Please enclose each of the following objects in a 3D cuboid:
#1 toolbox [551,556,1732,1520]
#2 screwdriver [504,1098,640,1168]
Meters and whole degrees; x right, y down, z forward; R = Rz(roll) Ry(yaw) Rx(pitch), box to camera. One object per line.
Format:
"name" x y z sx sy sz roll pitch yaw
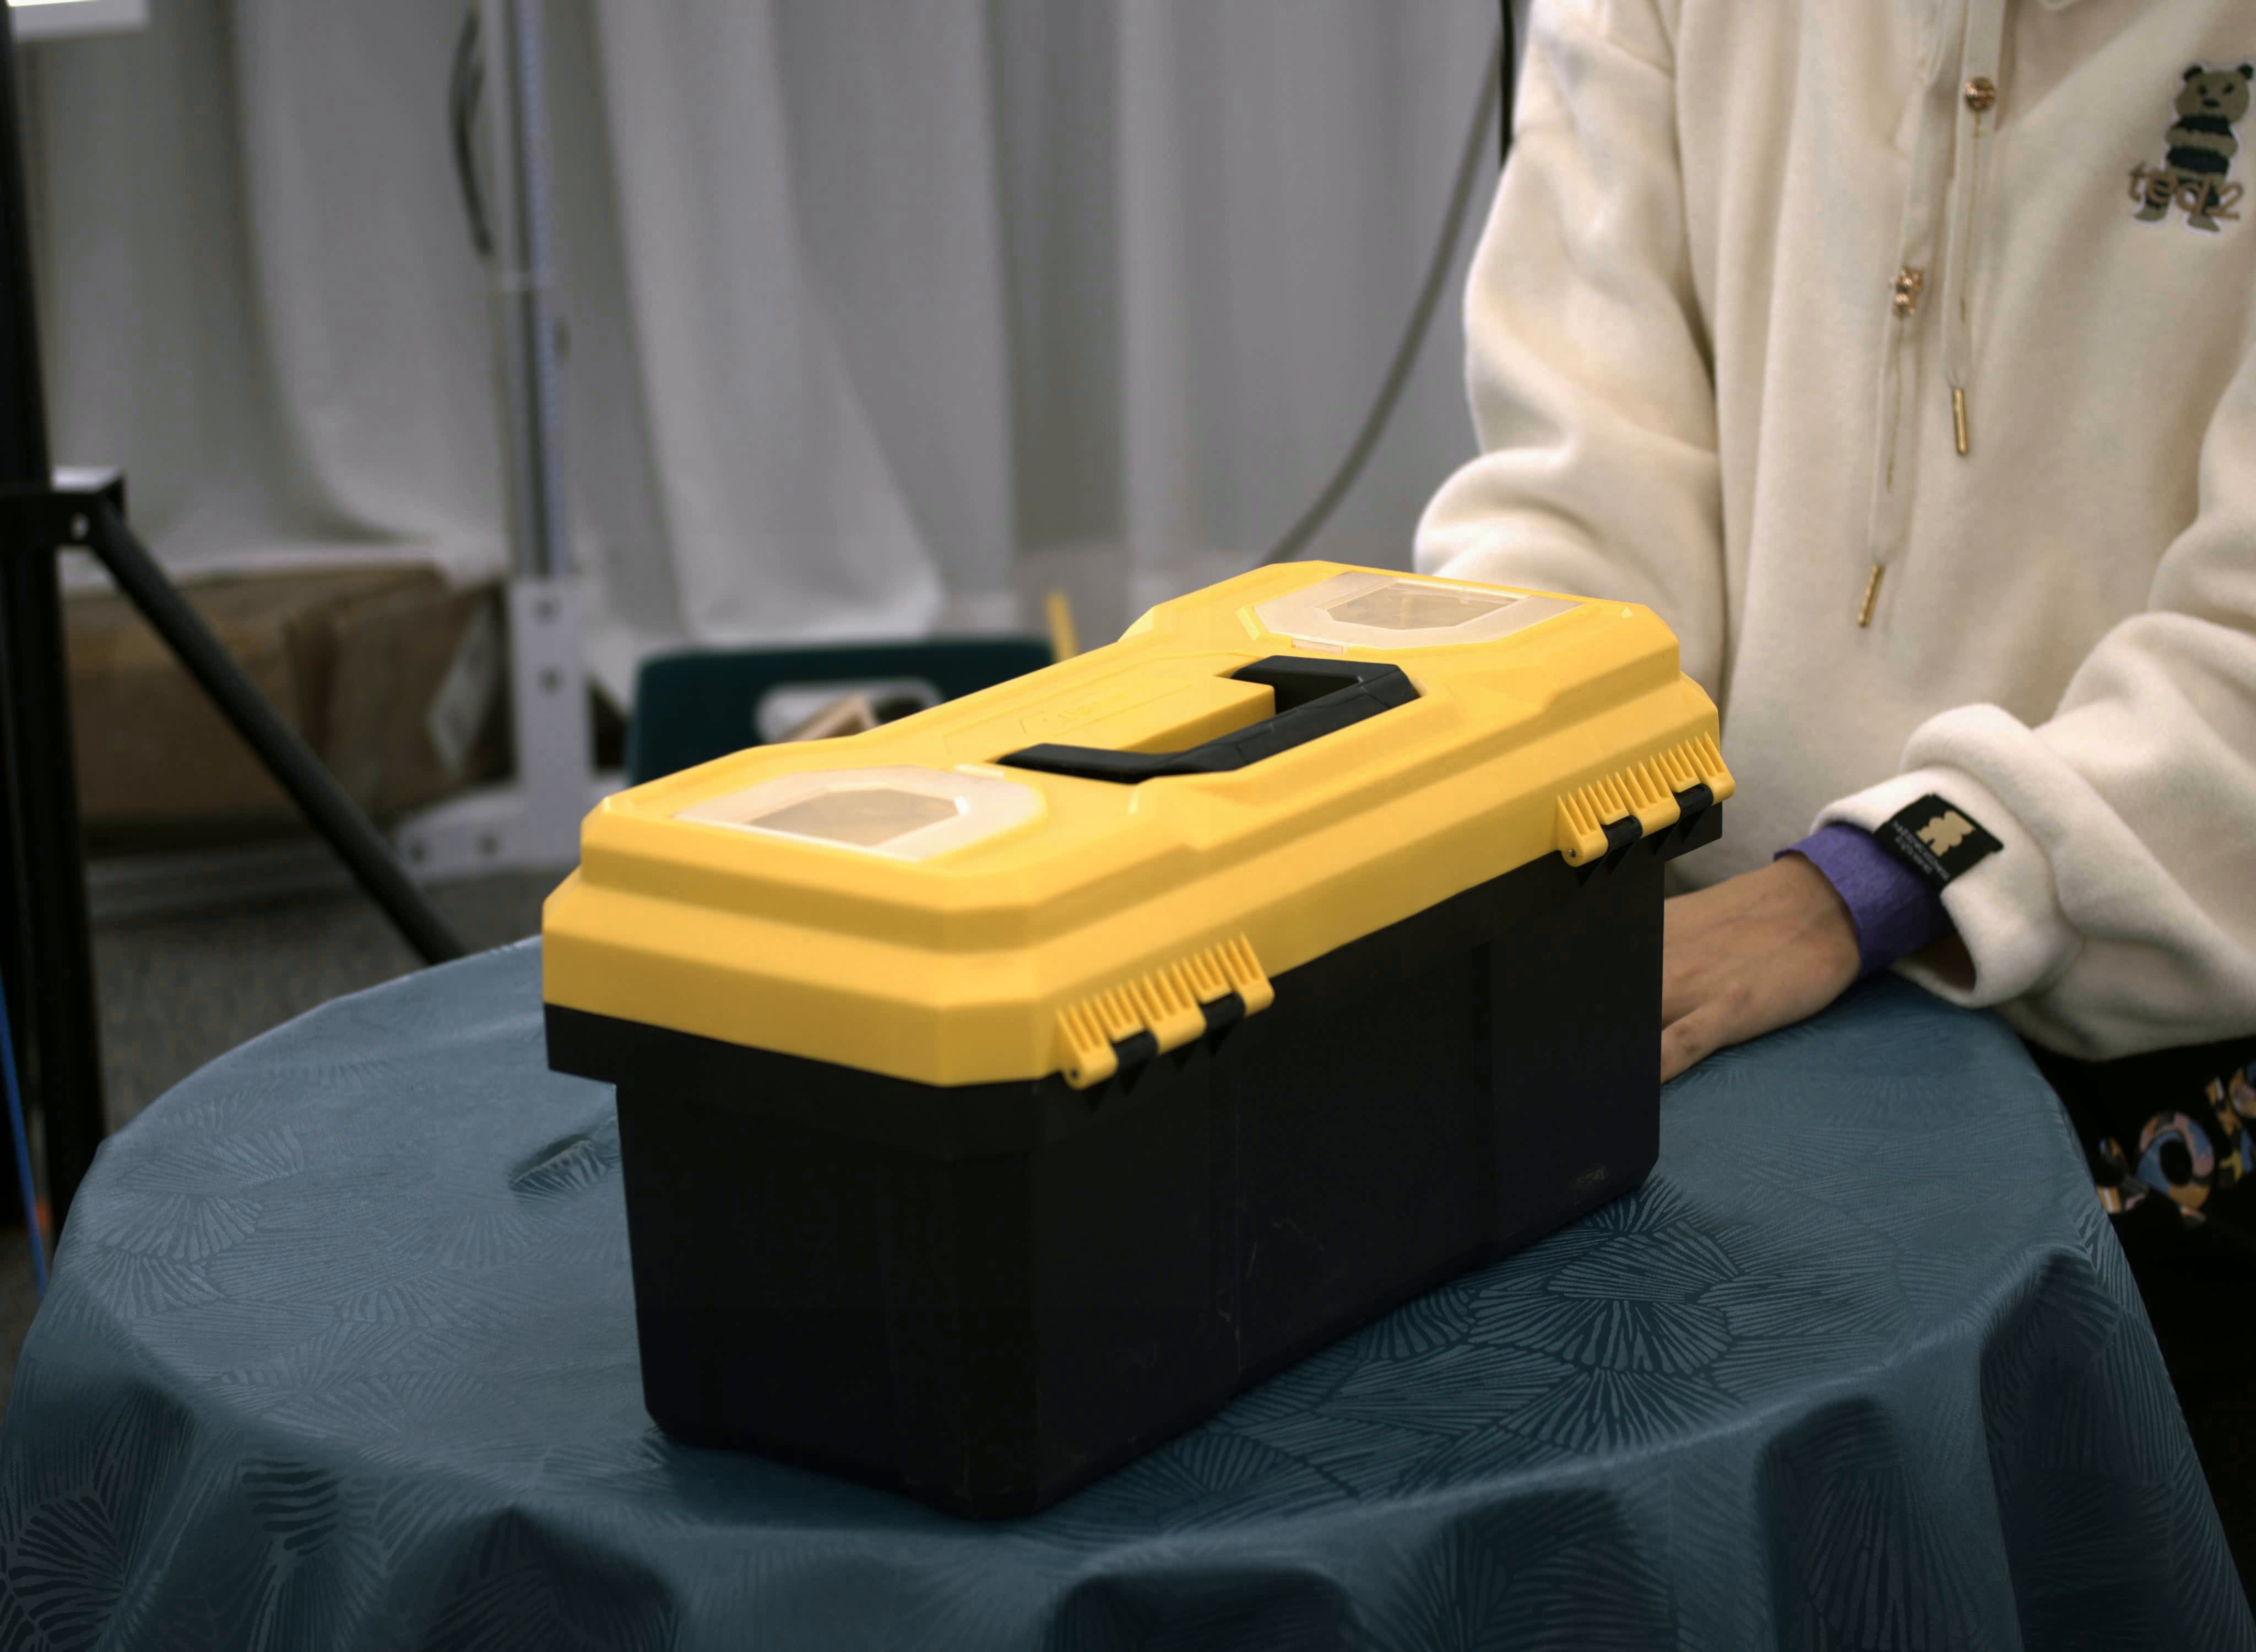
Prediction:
"toolbox" 0.011 0.048 1.449 0.185 0.173 0.344 10 20 38
"screwdriver" -0.126 0.078 1.666 0.032 0.031 0.194 10 25 37
